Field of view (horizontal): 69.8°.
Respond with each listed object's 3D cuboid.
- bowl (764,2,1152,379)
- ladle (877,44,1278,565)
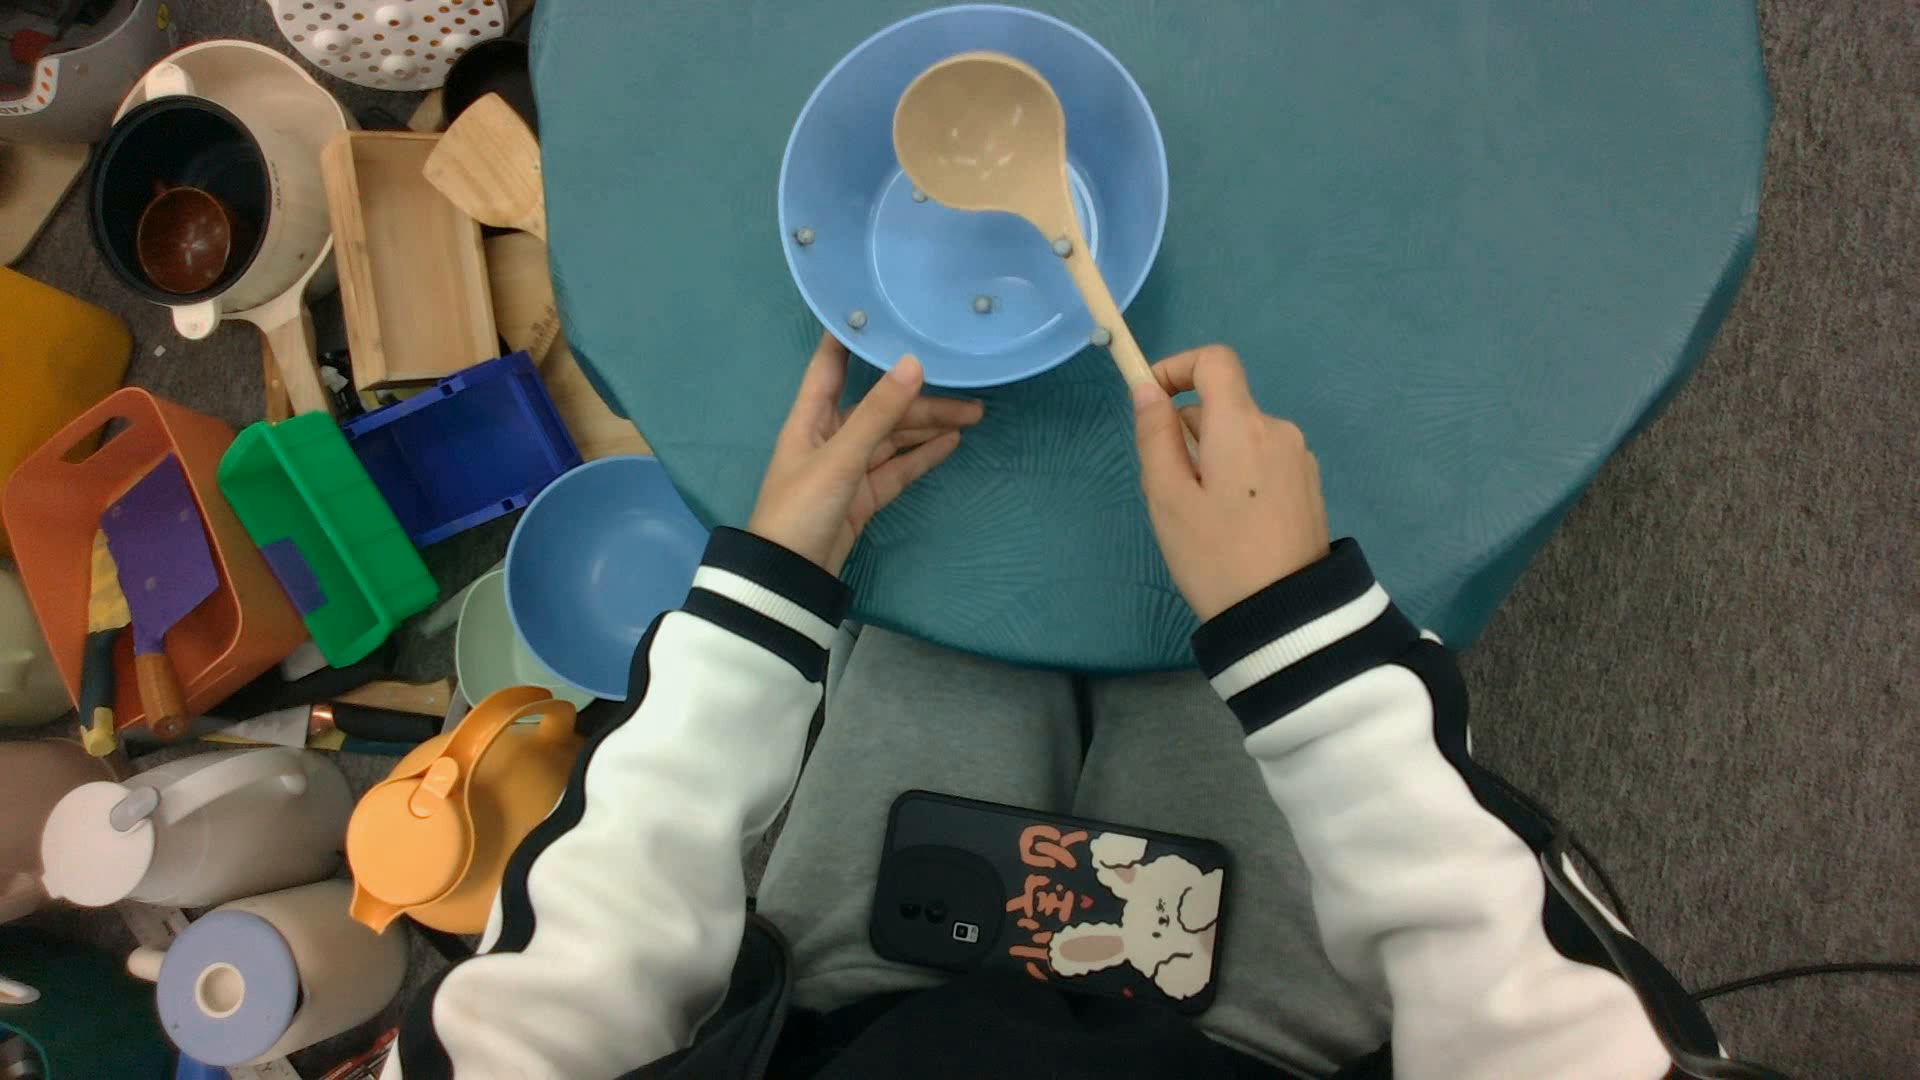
[{"bbox_3d":[0.002,-0.155,0.648,0.176,0.070,0.176,-1,83,7],"label":"bowl"},{"bbox_3d":[0.044,-0.097,0.556,0.072,0.073,0.255,-40,65,25],"label":"ladle"}]
